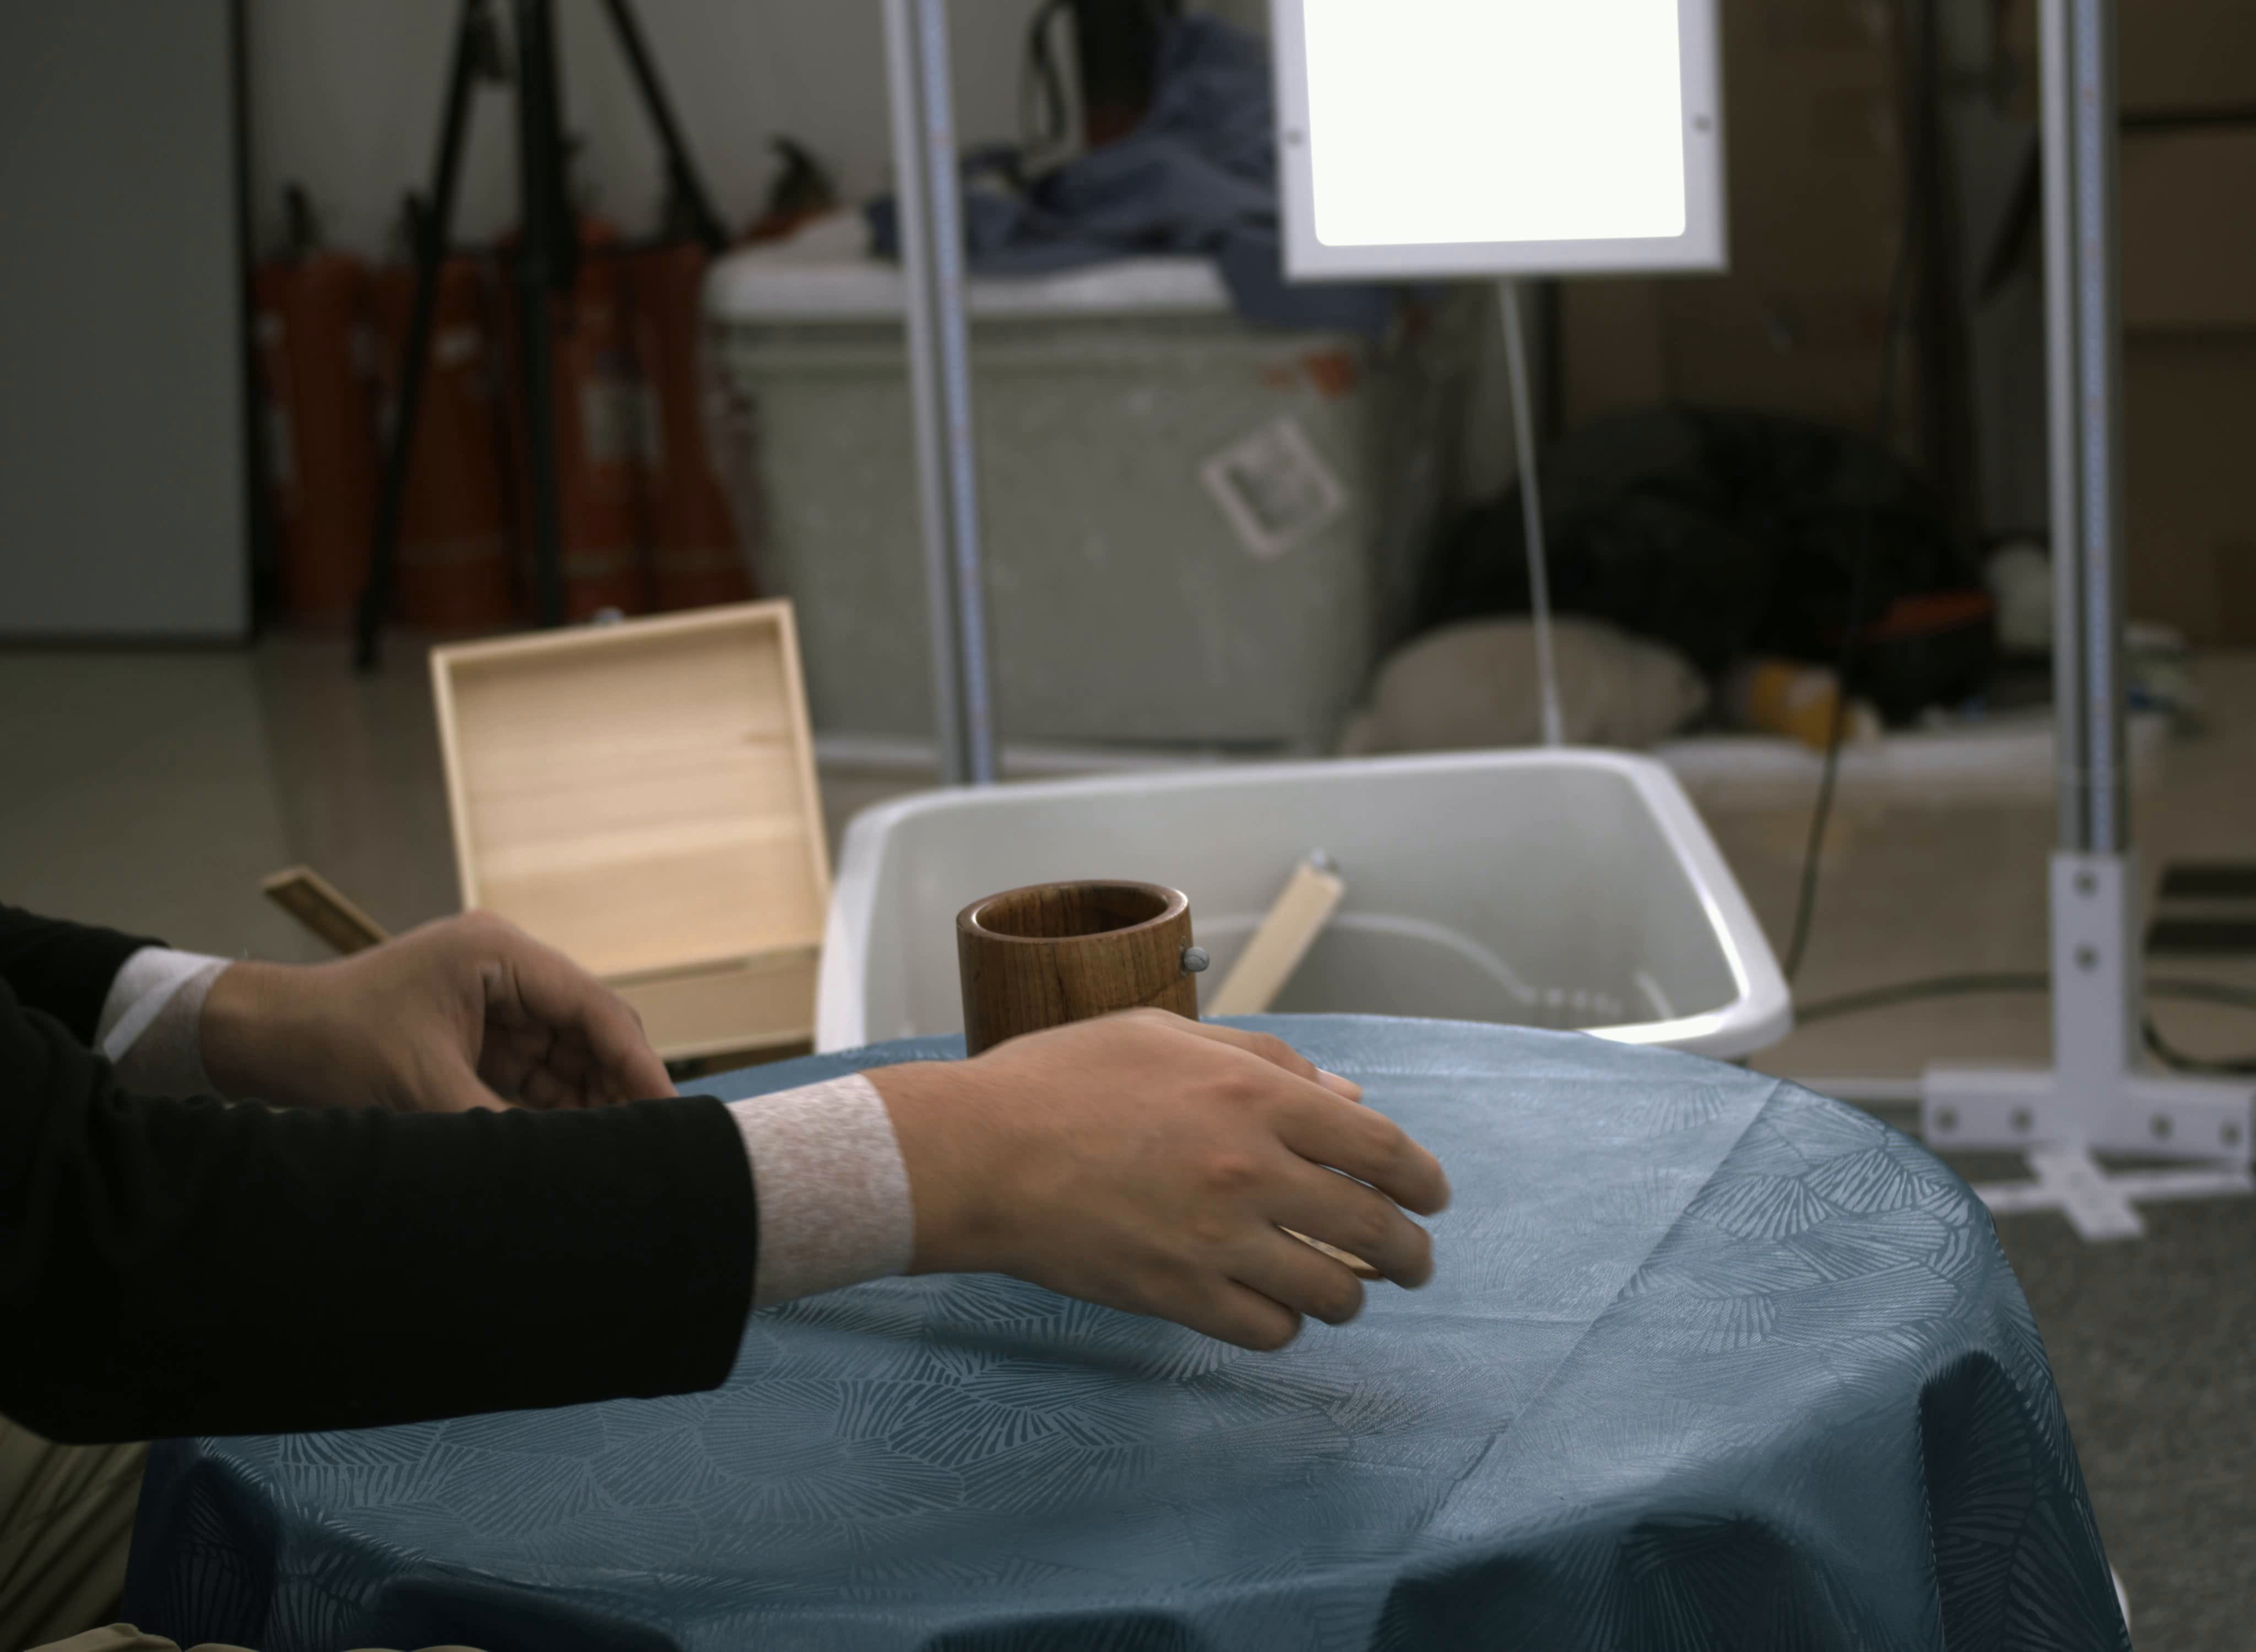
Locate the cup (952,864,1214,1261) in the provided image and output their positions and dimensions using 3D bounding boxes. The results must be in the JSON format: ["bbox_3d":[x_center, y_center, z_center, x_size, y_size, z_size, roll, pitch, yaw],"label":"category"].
[{"bbox_3d":[-0.013,0.079,1.853,0.087,0.119,0.087,-5,13,0],"label":"cup"}]

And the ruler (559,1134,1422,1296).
[{"bbox_3d":[-0.052,0.122,1.767,0.339,0.022,0.027,5,18,37],"label":"ruler"}]
